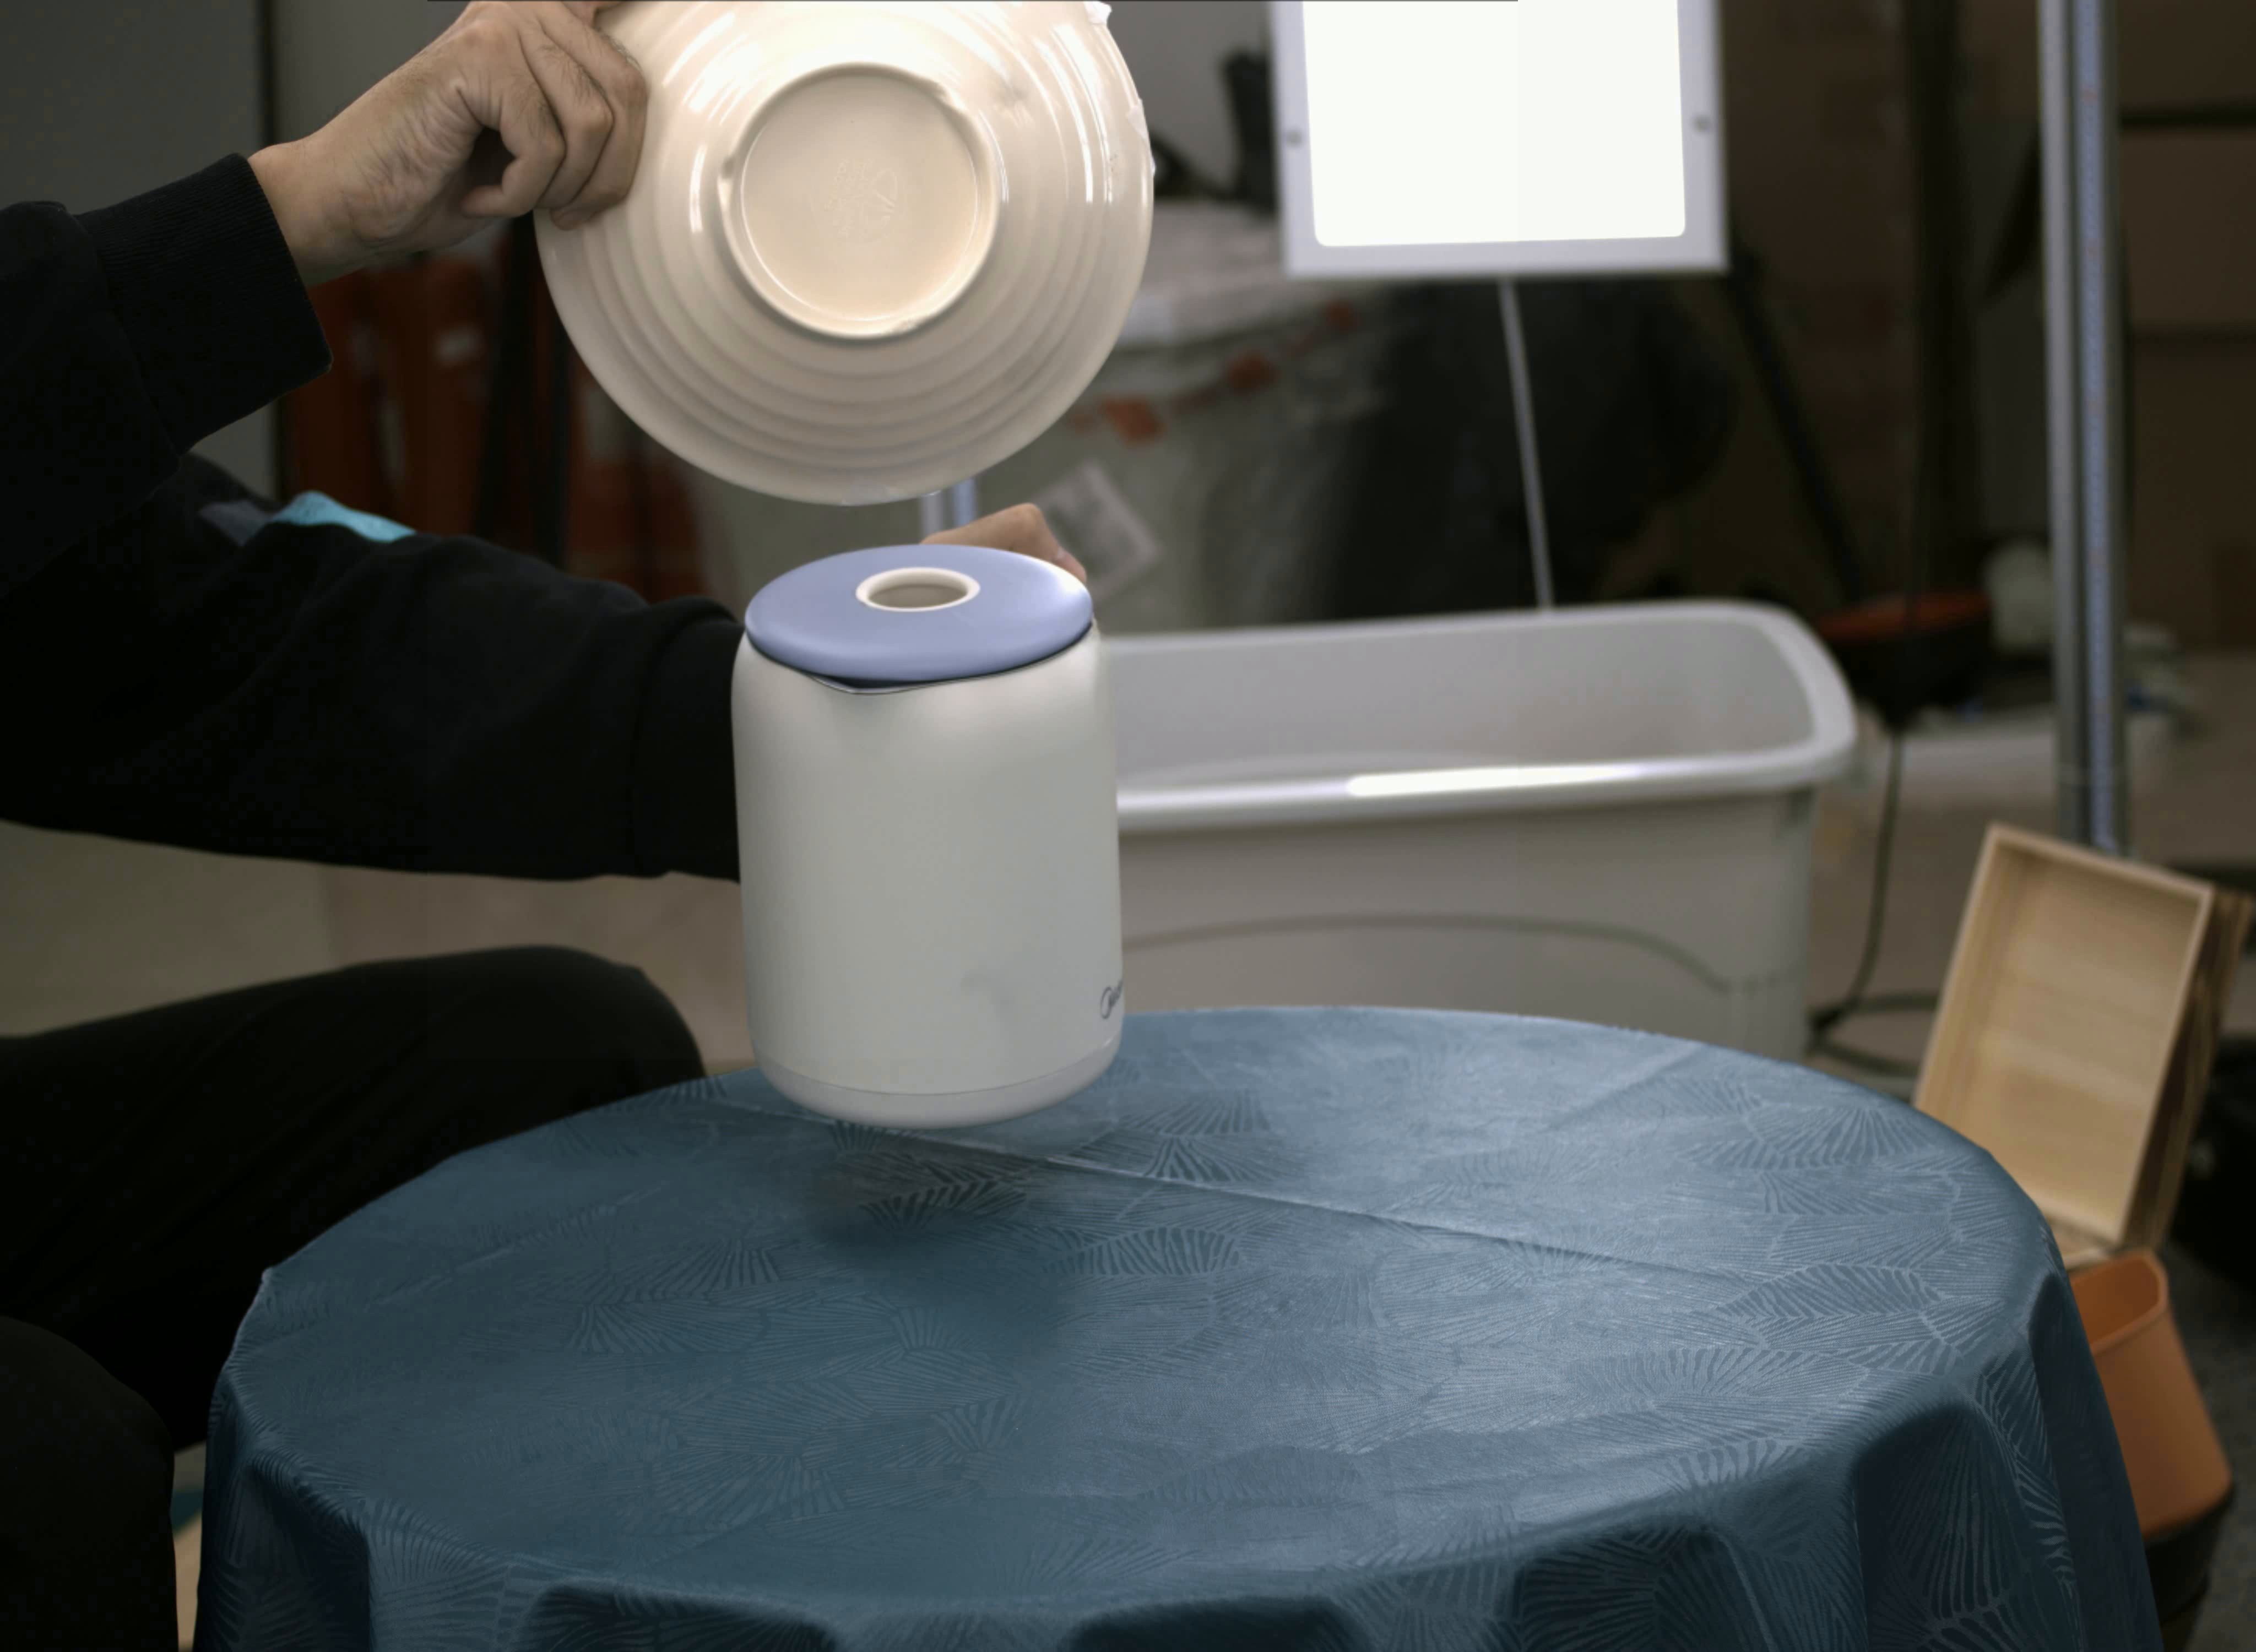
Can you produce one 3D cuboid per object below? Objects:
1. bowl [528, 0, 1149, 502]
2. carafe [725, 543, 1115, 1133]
[{"bbox_3d":[-0.086,-0.203,1.748,0.202,0.205,0.078,-6,8,-7],"label":"bowl"},{"bbox_3d":[-0.065,-0.005,1.910,0.133,0.183,0.188,5,21,13],"label":"carafe"}]
